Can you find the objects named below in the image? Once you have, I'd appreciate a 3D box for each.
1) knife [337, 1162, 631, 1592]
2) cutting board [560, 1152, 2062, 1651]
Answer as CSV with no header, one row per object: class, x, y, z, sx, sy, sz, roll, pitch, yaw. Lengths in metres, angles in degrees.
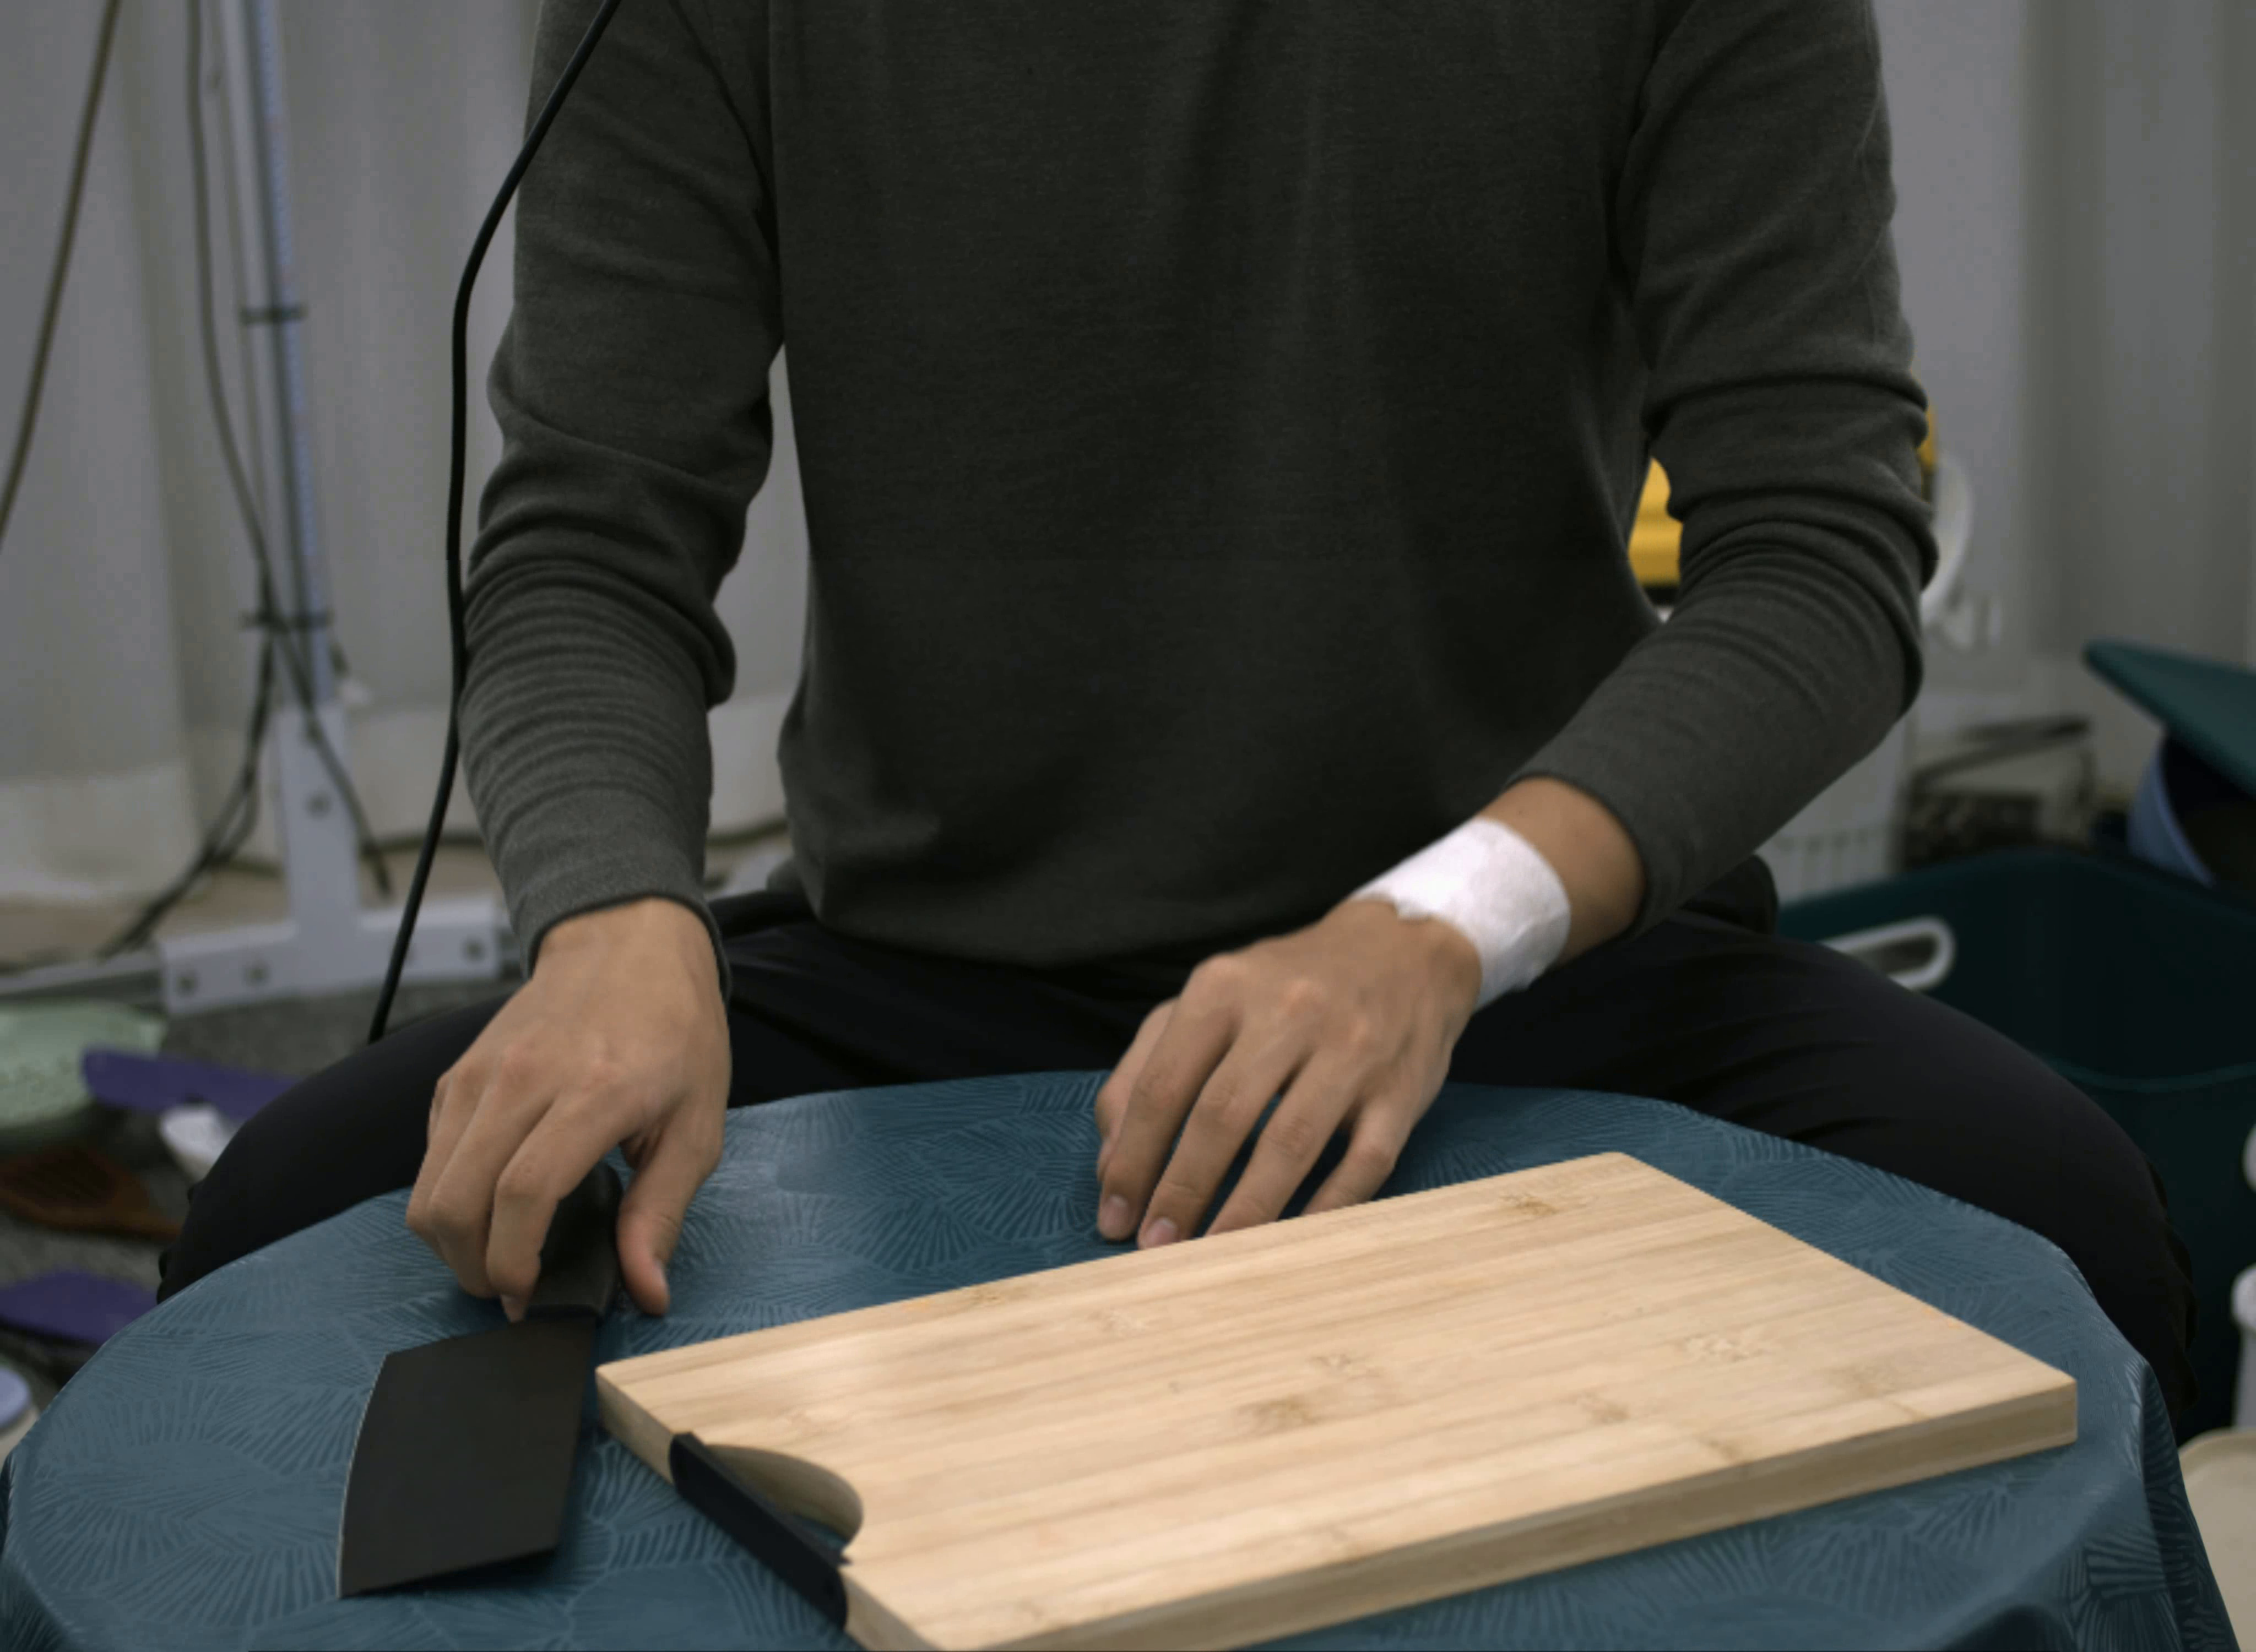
knife,-0.180,0.155,1.569,0.081,0.021,0.304,-9,16,5
cutting board,0.048,0.161,1.504,0.347,0.023,0.252,-10,16,-25
